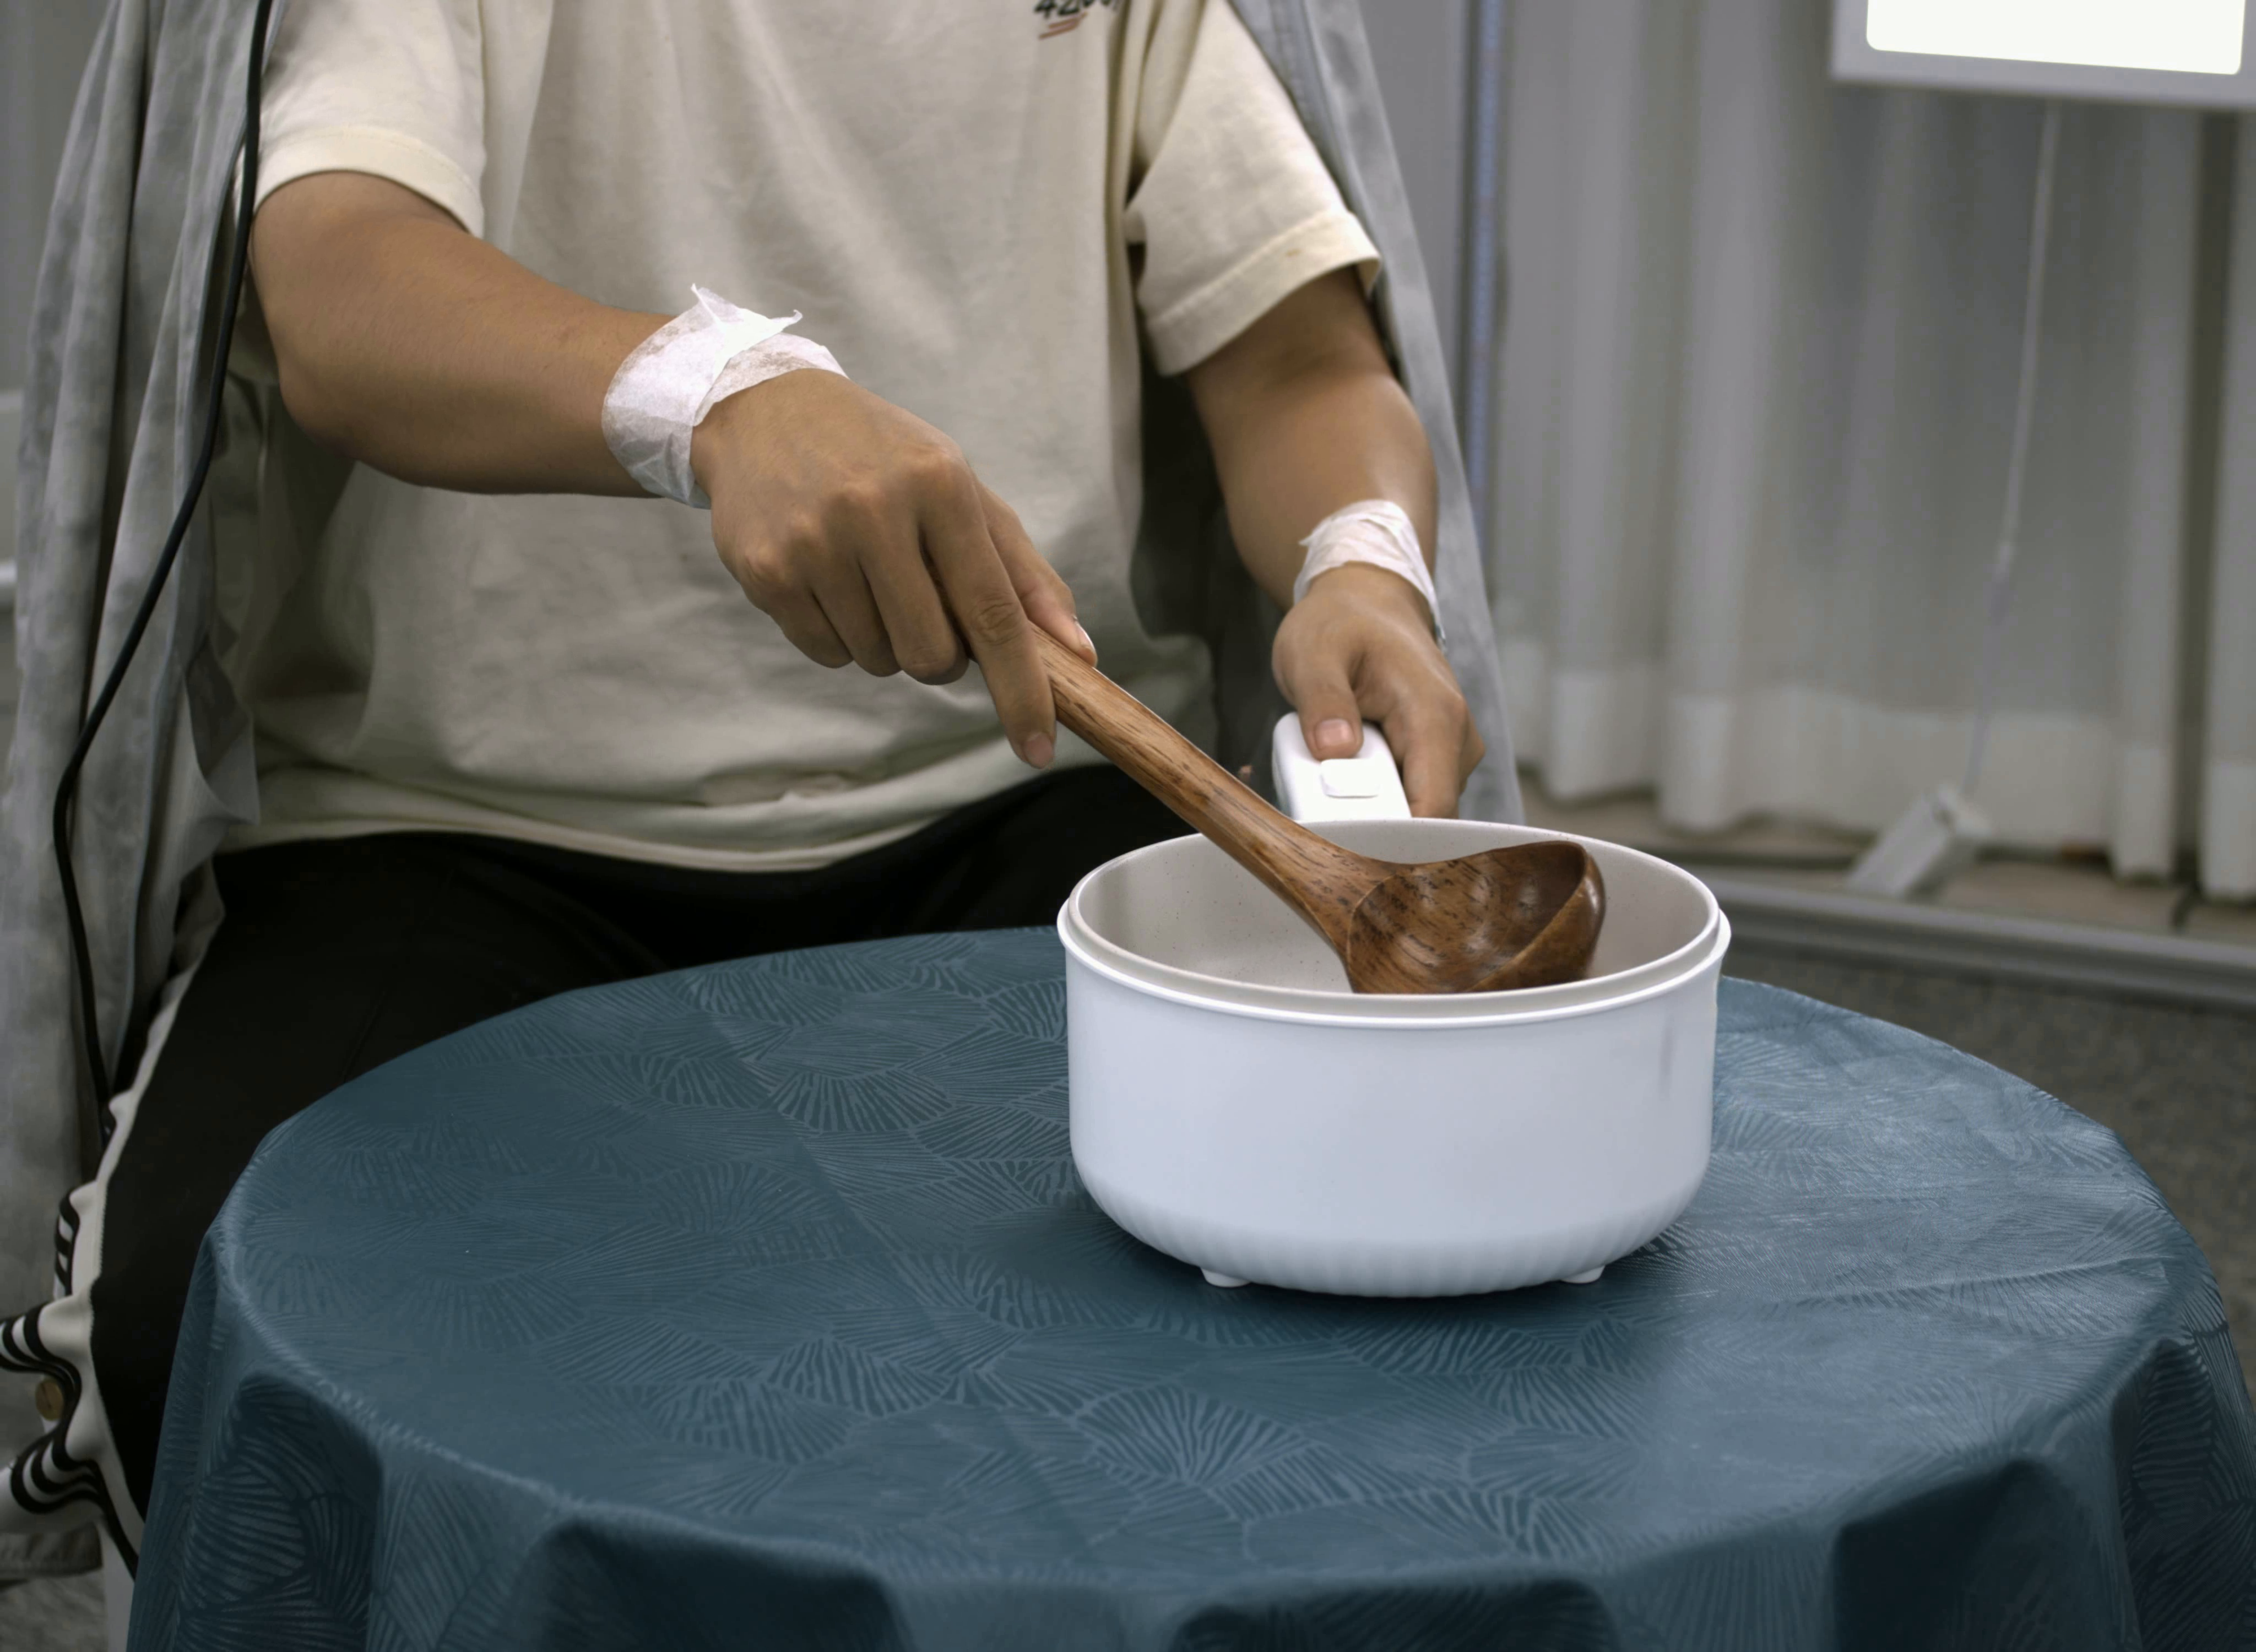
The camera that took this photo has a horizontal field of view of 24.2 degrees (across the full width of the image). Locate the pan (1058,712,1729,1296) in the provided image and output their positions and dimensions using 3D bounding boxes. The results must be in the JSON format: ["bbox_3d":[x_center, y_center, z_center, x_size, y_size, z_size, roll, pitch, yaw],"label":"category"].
[{"bbox_3d":[0.077,0.051,1.663,0.201,0.103,0.353,-1,15,-2],"label":"pan"}]

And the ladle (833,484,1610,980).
[{"bbox_3d":[0.024,-0.030,1.572,0.272,0.077,0.082,39,53,9],"label":"ladle"}]
